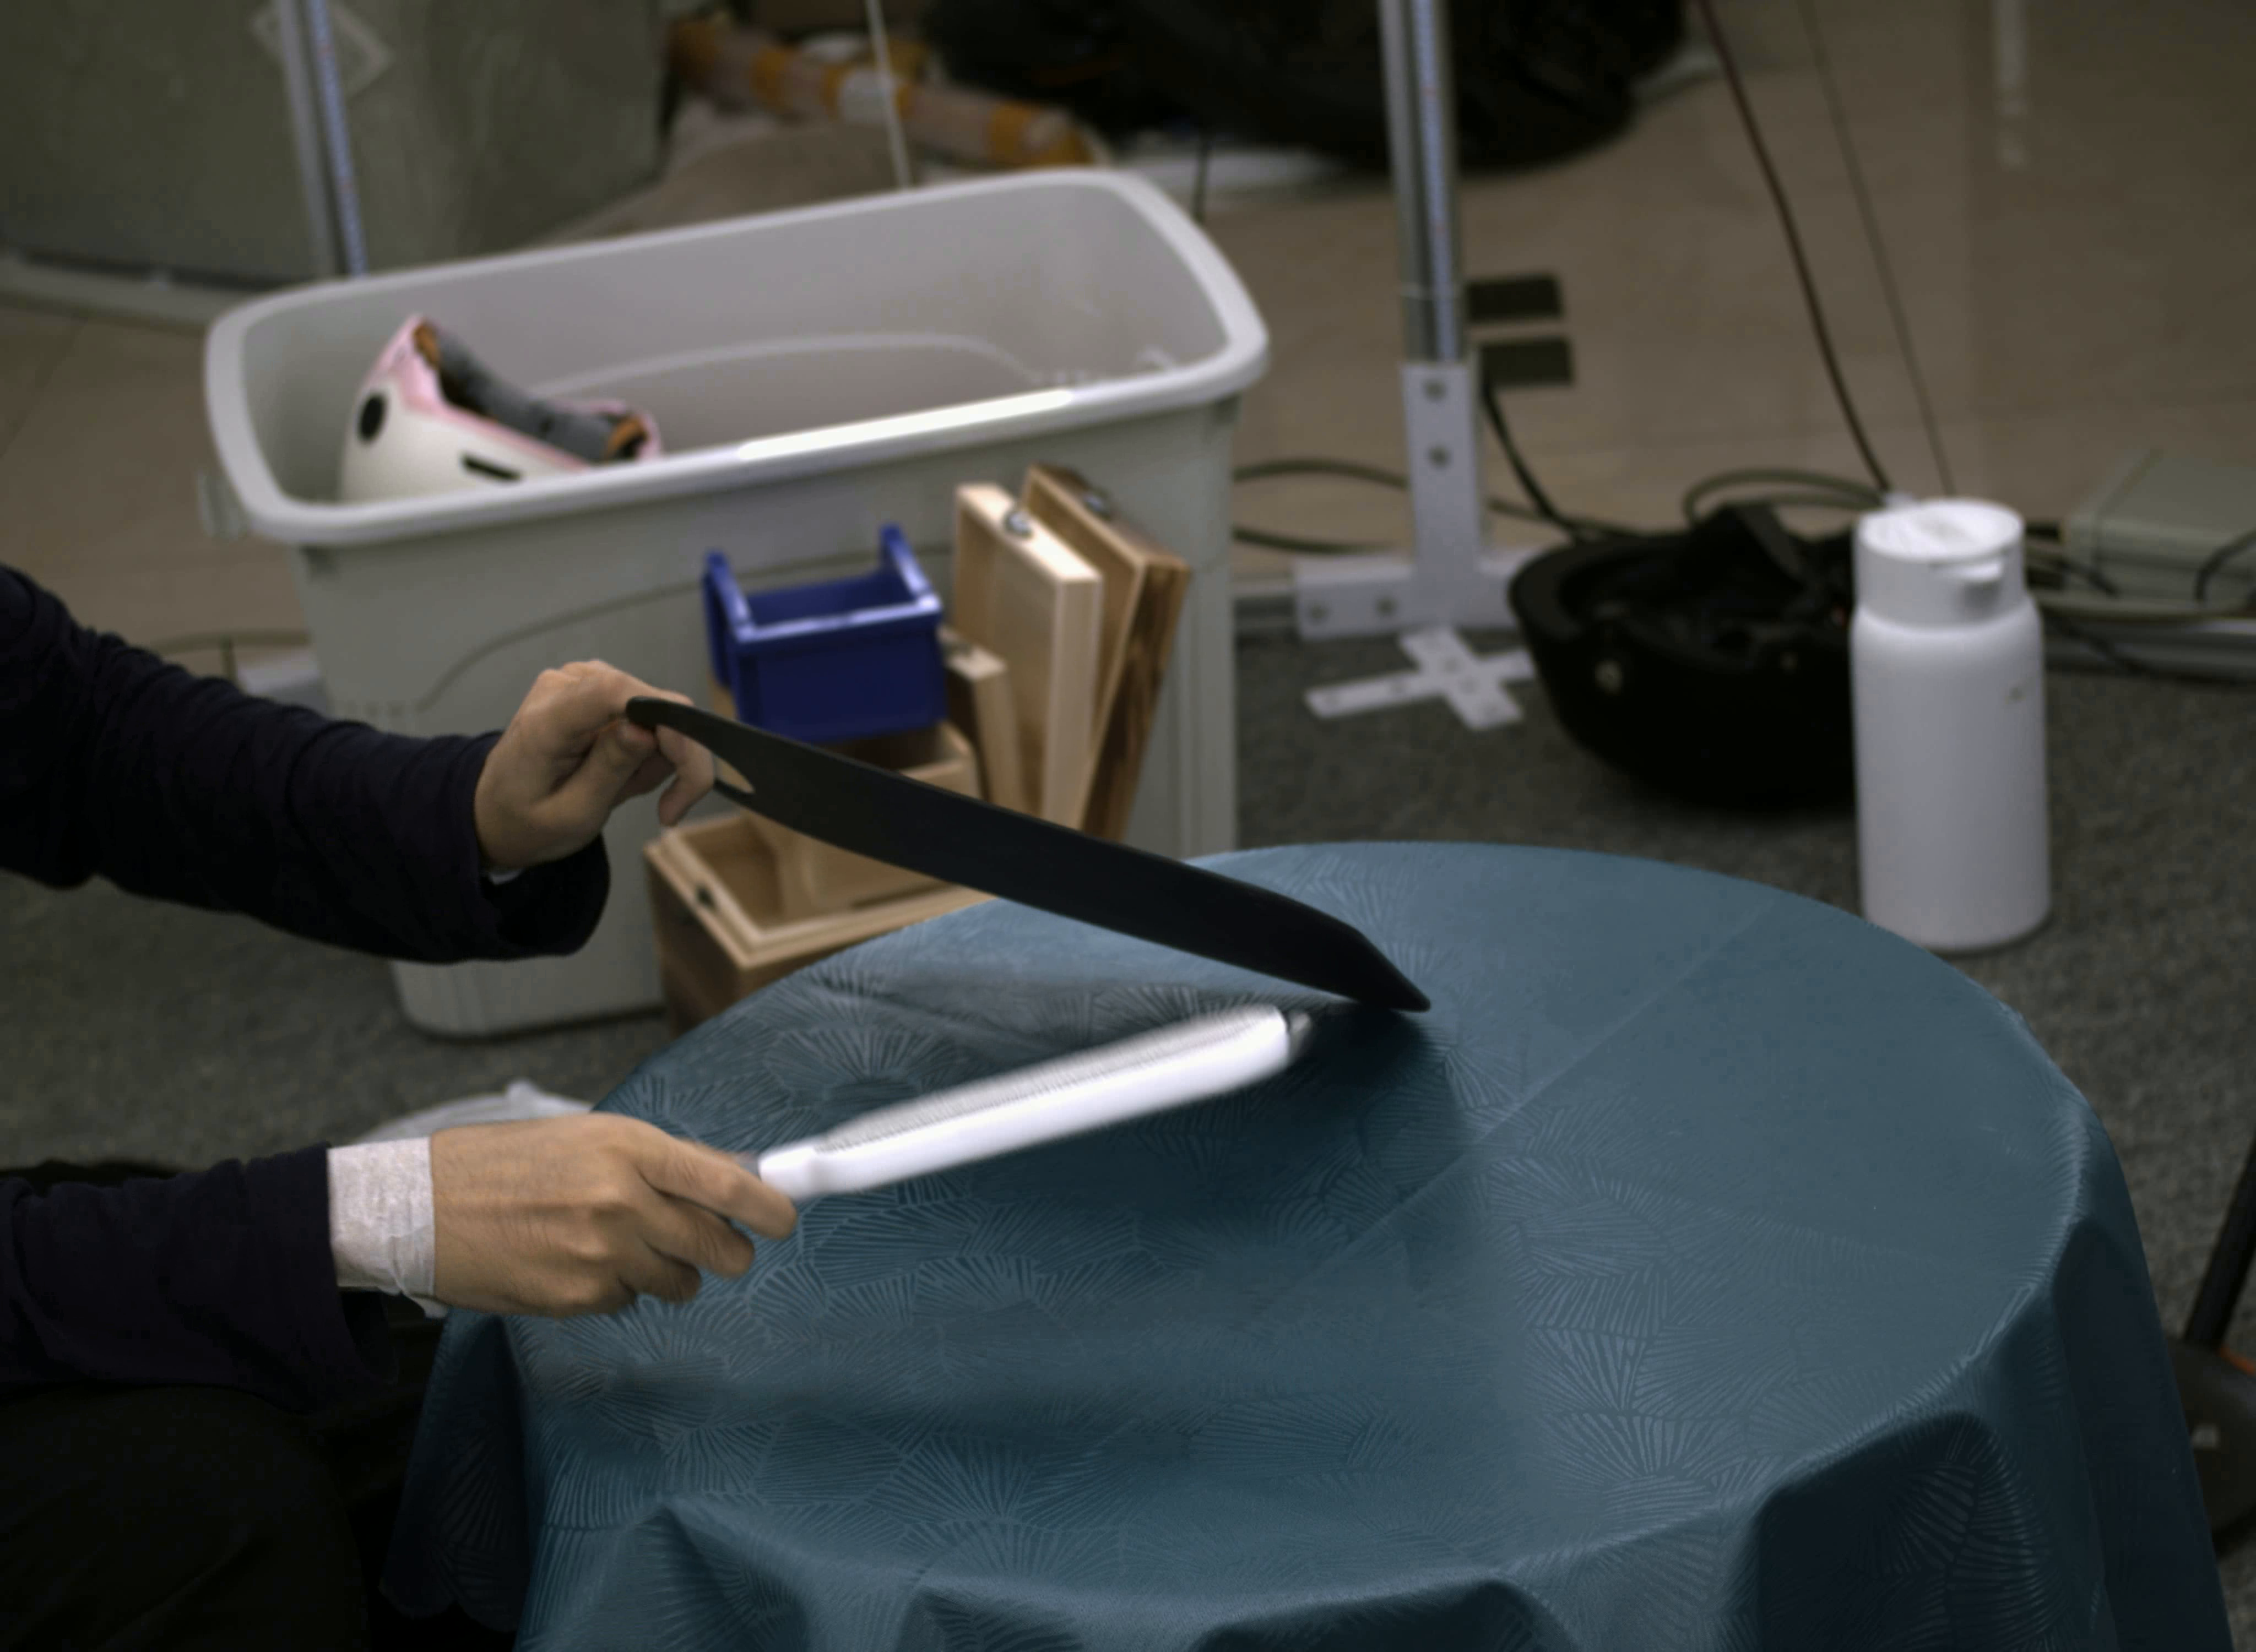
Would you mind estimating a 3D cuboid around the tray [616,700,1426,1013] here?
[{"bbox_3d":[-0.047,0.009,2.213,0.324,0.010,0.213,17,-9,18],"label":"tray"}]

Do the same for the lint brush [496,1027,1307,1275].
[{"bbox_3d":[-0.084,0.116,2.011,0.309,0.021,0.059,-15,6,16],"label":"lint brush"}]
